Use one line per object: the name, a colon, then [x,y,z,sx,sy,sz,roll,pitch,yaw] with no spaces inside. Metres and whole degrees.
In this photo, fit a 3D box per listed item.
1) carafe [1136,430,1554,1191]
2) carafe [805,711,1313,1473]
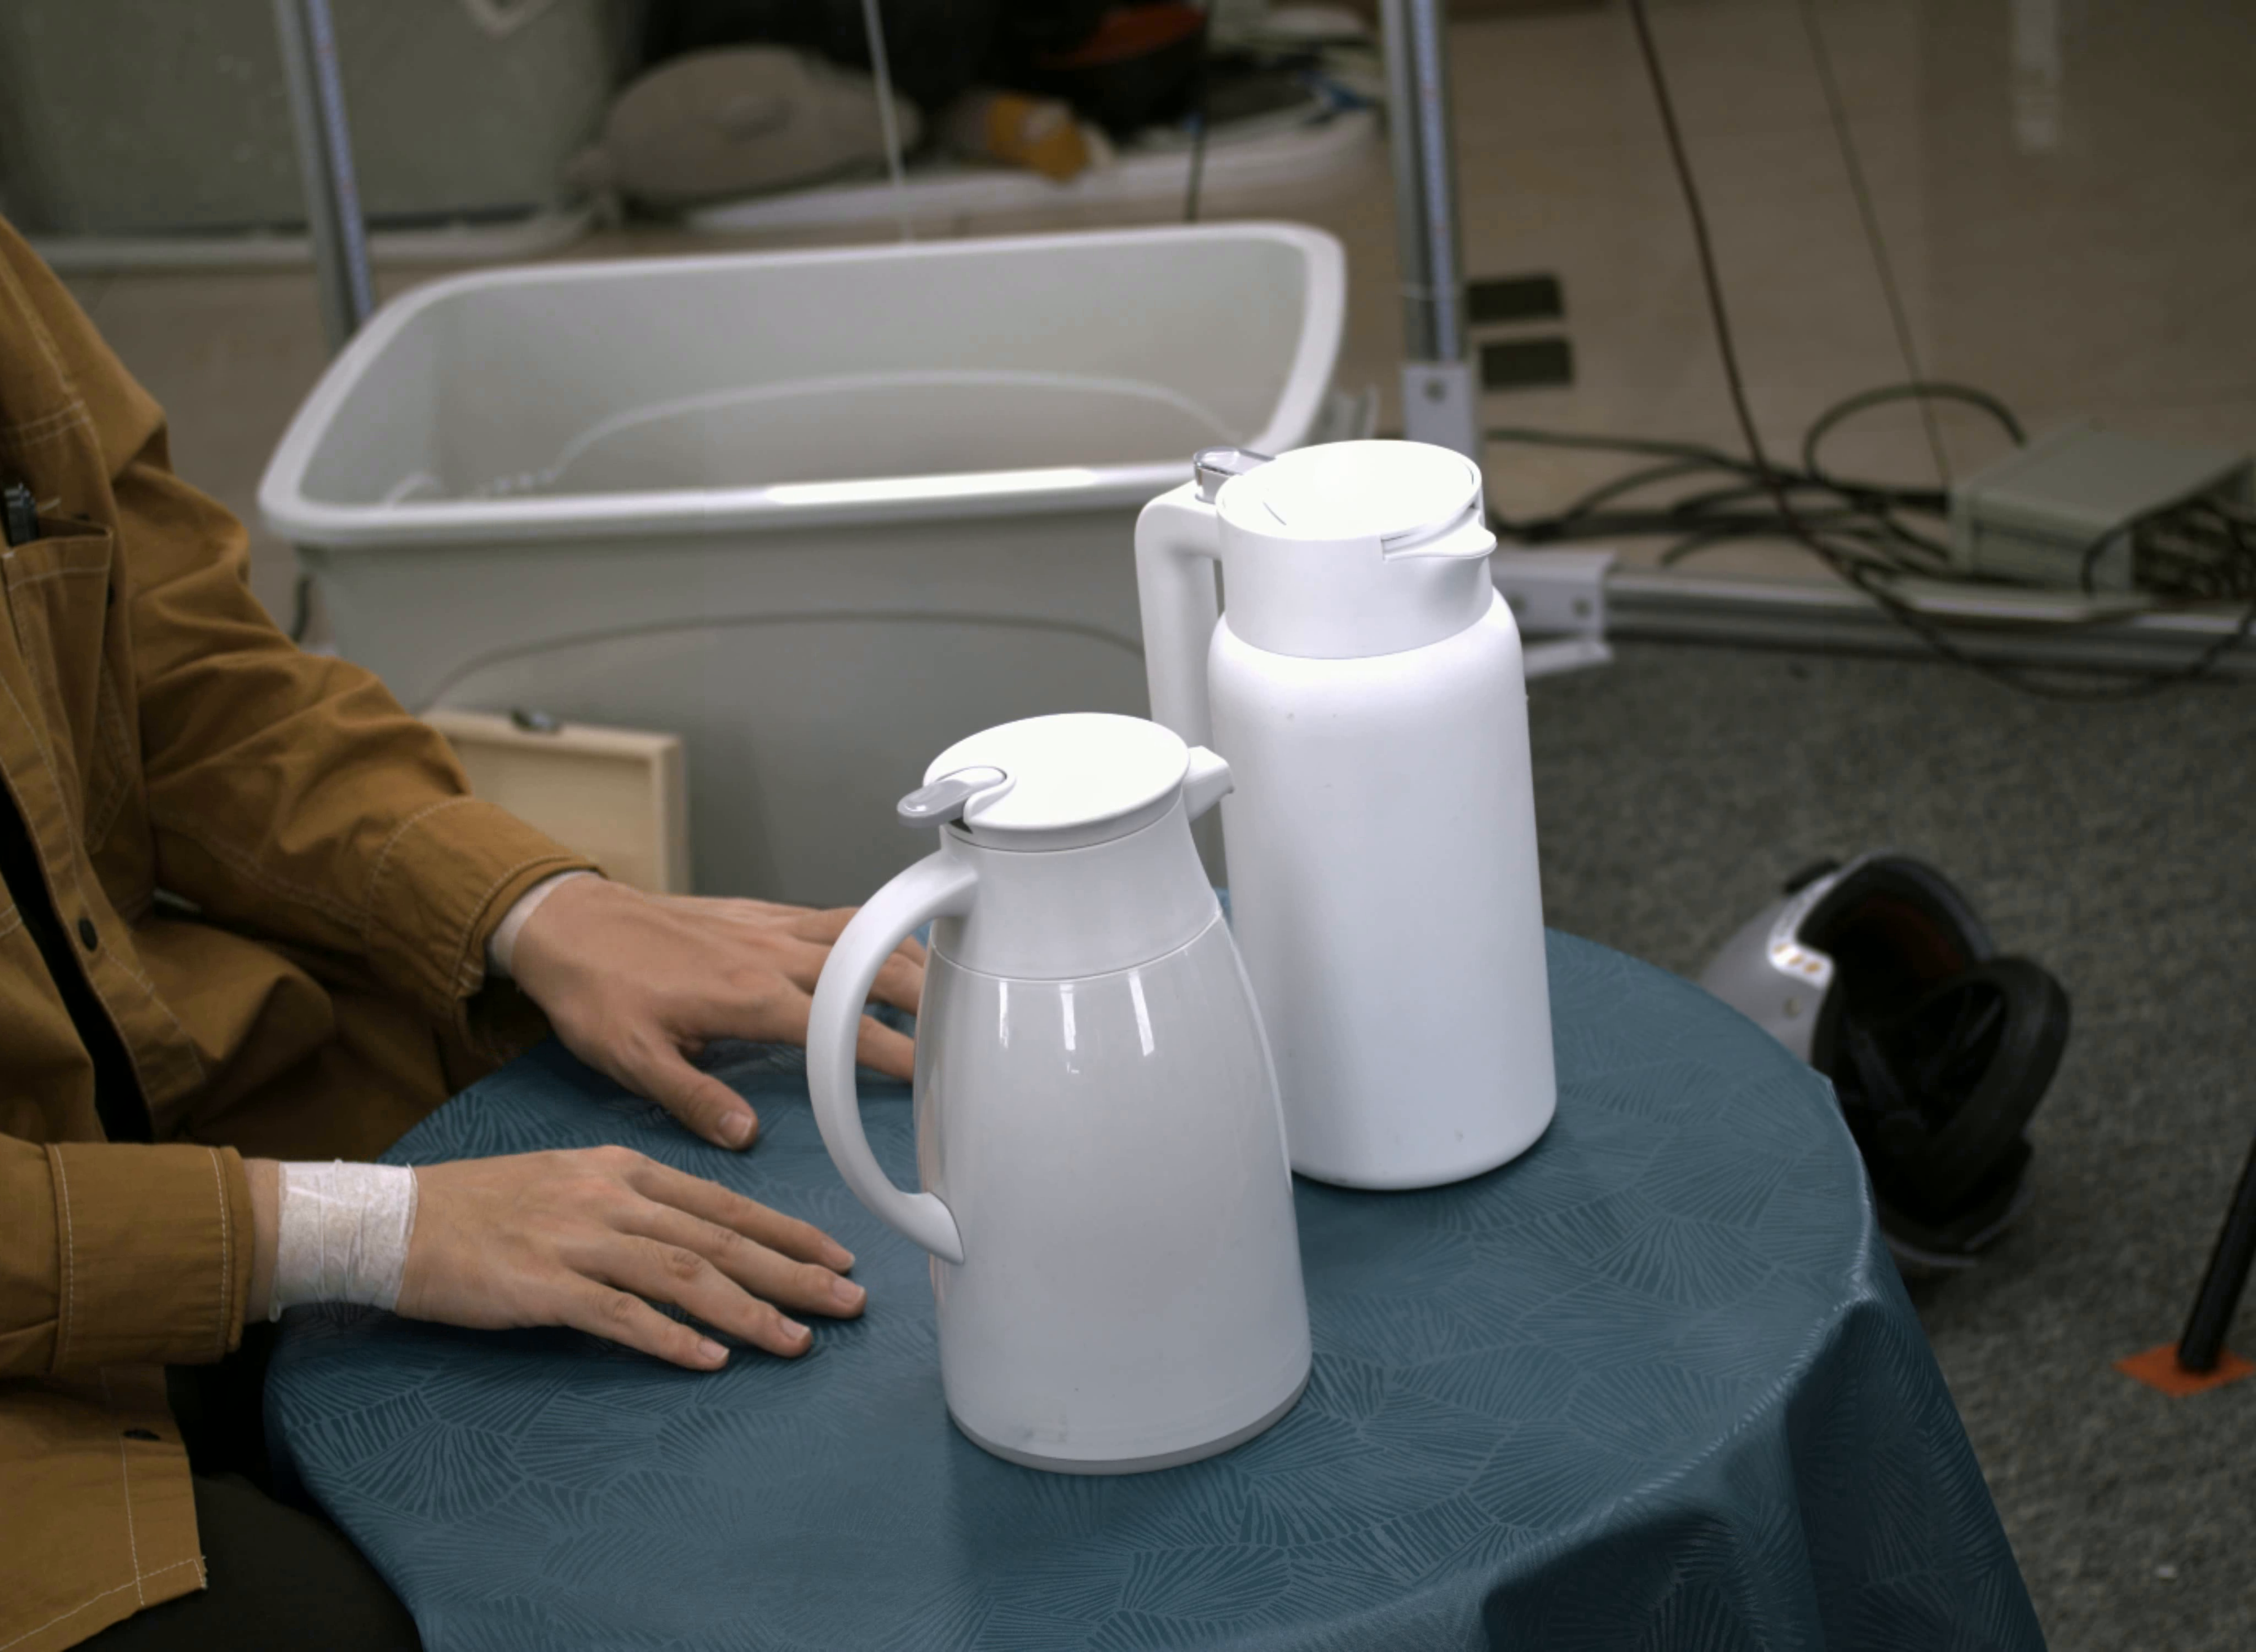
carafe: [0.080,-0.008,2.124,0.171,0.273,0.122,18,37,41]
carafe: [-0.029,0.091,1.961,0.167,0.252,0.131,-20,28,-24]
